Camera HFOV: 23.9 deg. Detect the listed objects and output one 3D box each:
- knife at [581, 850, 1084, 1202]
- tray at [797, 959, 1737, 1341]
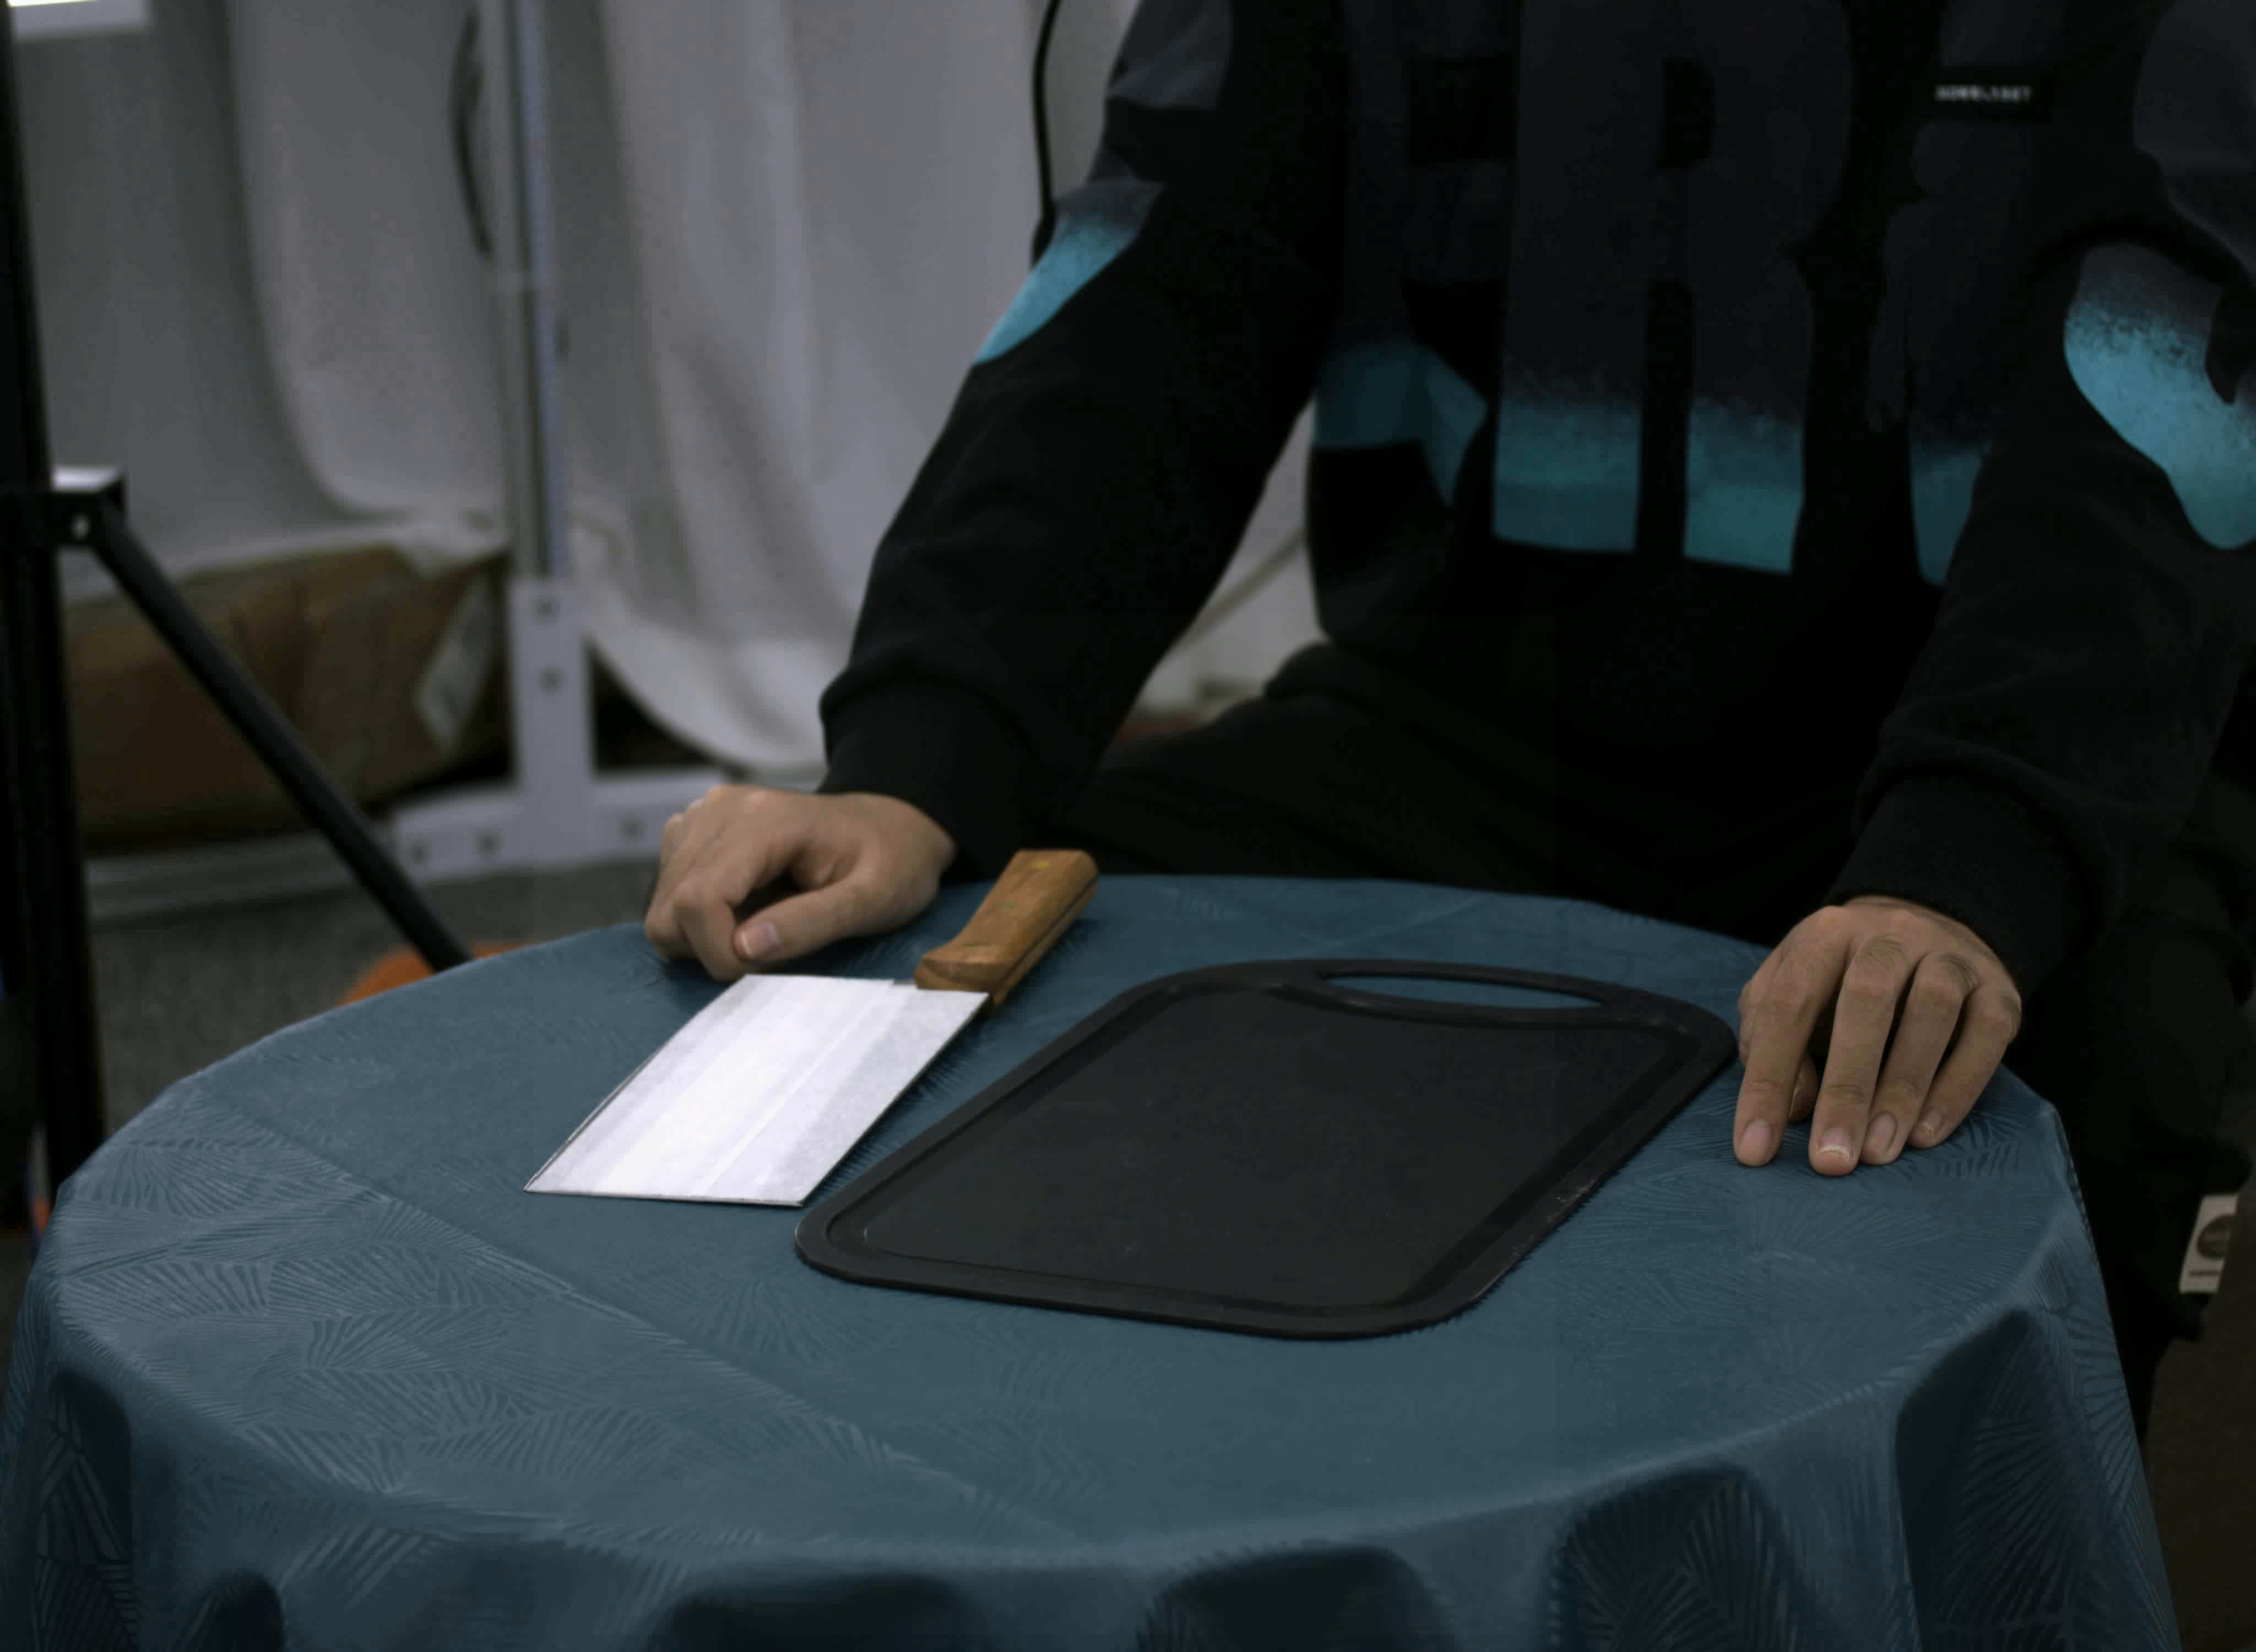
[{"bbox_3d":[-0.093,0.063,1.707,0.094,0.021,0.303,1,18,17],"label":"knife"},{"bbox_3d":[0.051,0.089,1.604,0.214,0.010,0.320,5,18,26],"label":"tray"}]
